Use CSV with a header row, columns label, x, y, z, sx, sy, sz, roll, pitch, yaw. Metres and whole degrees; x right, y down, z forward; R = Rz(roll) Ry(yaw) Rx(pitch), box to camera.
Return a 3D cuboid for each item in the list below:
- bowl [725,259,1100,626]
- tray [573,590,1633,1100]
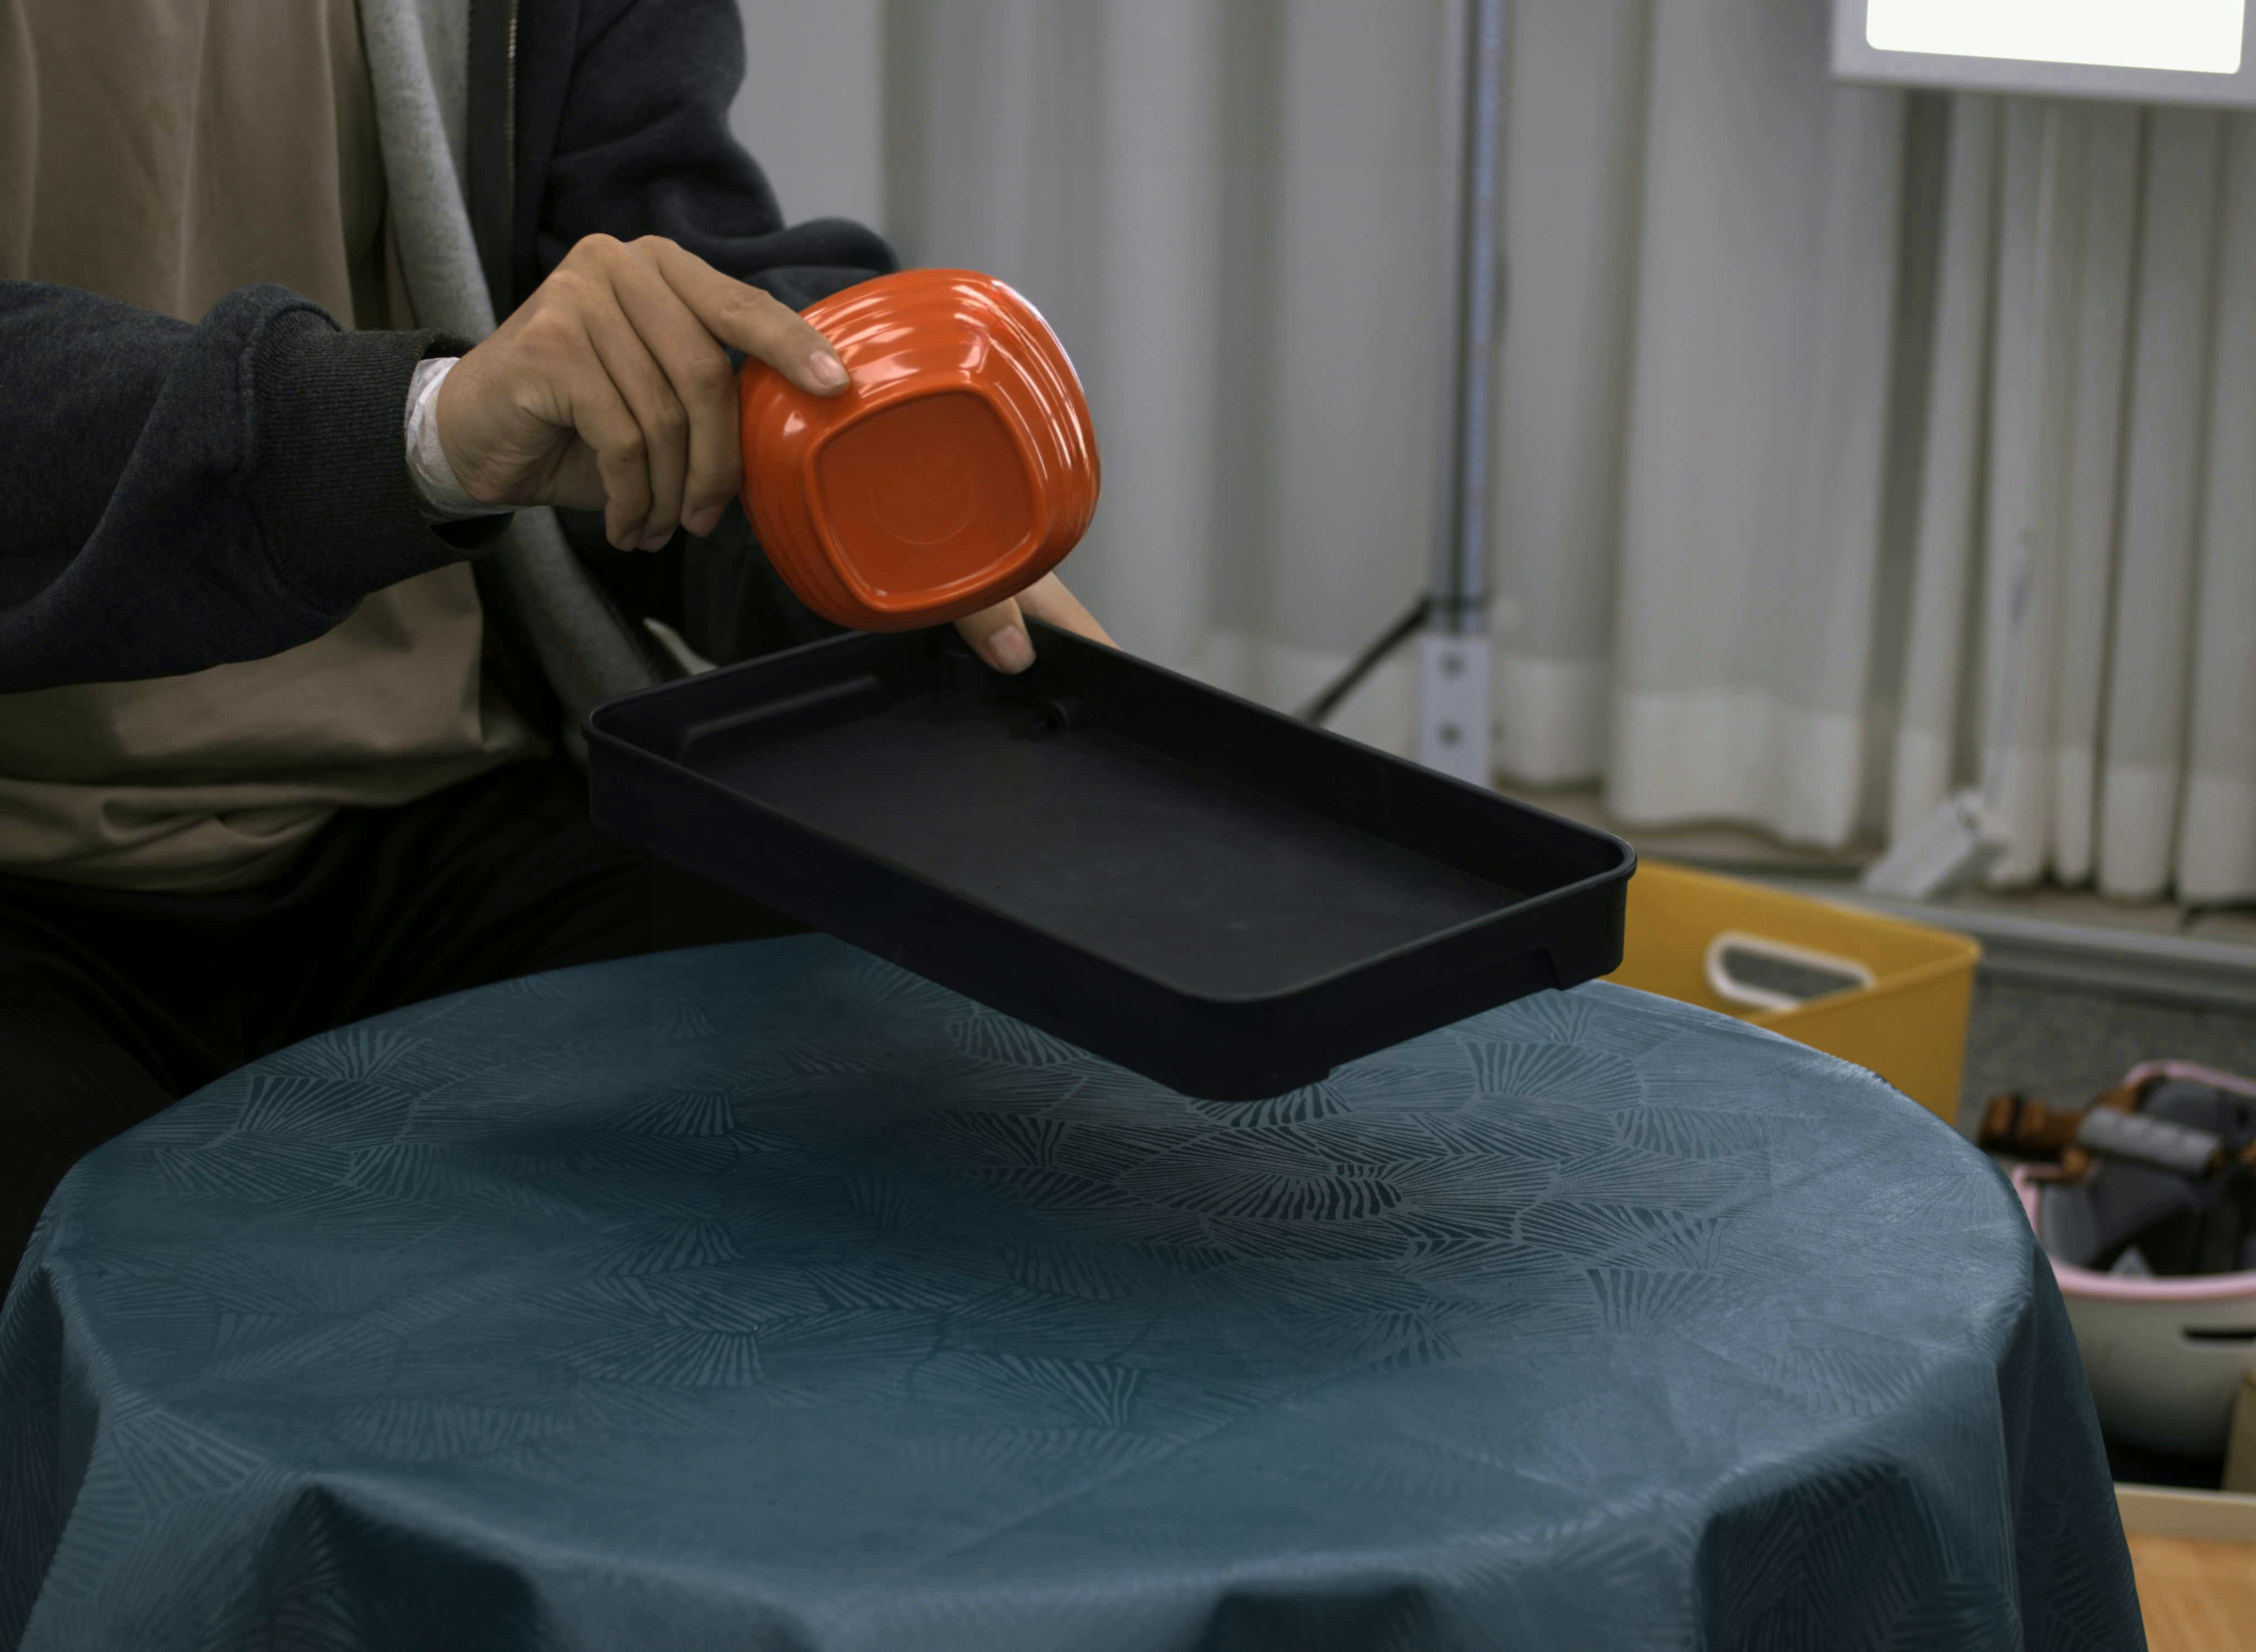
label,x,y,z,sx,sy,sz,roll,pitch,yaw
bowl,-0.063,-0.107,1.575,0.119,0.120,0.051,-1,25,-7
tray,-0.013,-0.001,1.637,0.185,0.037,0.313,-17,29,-40
